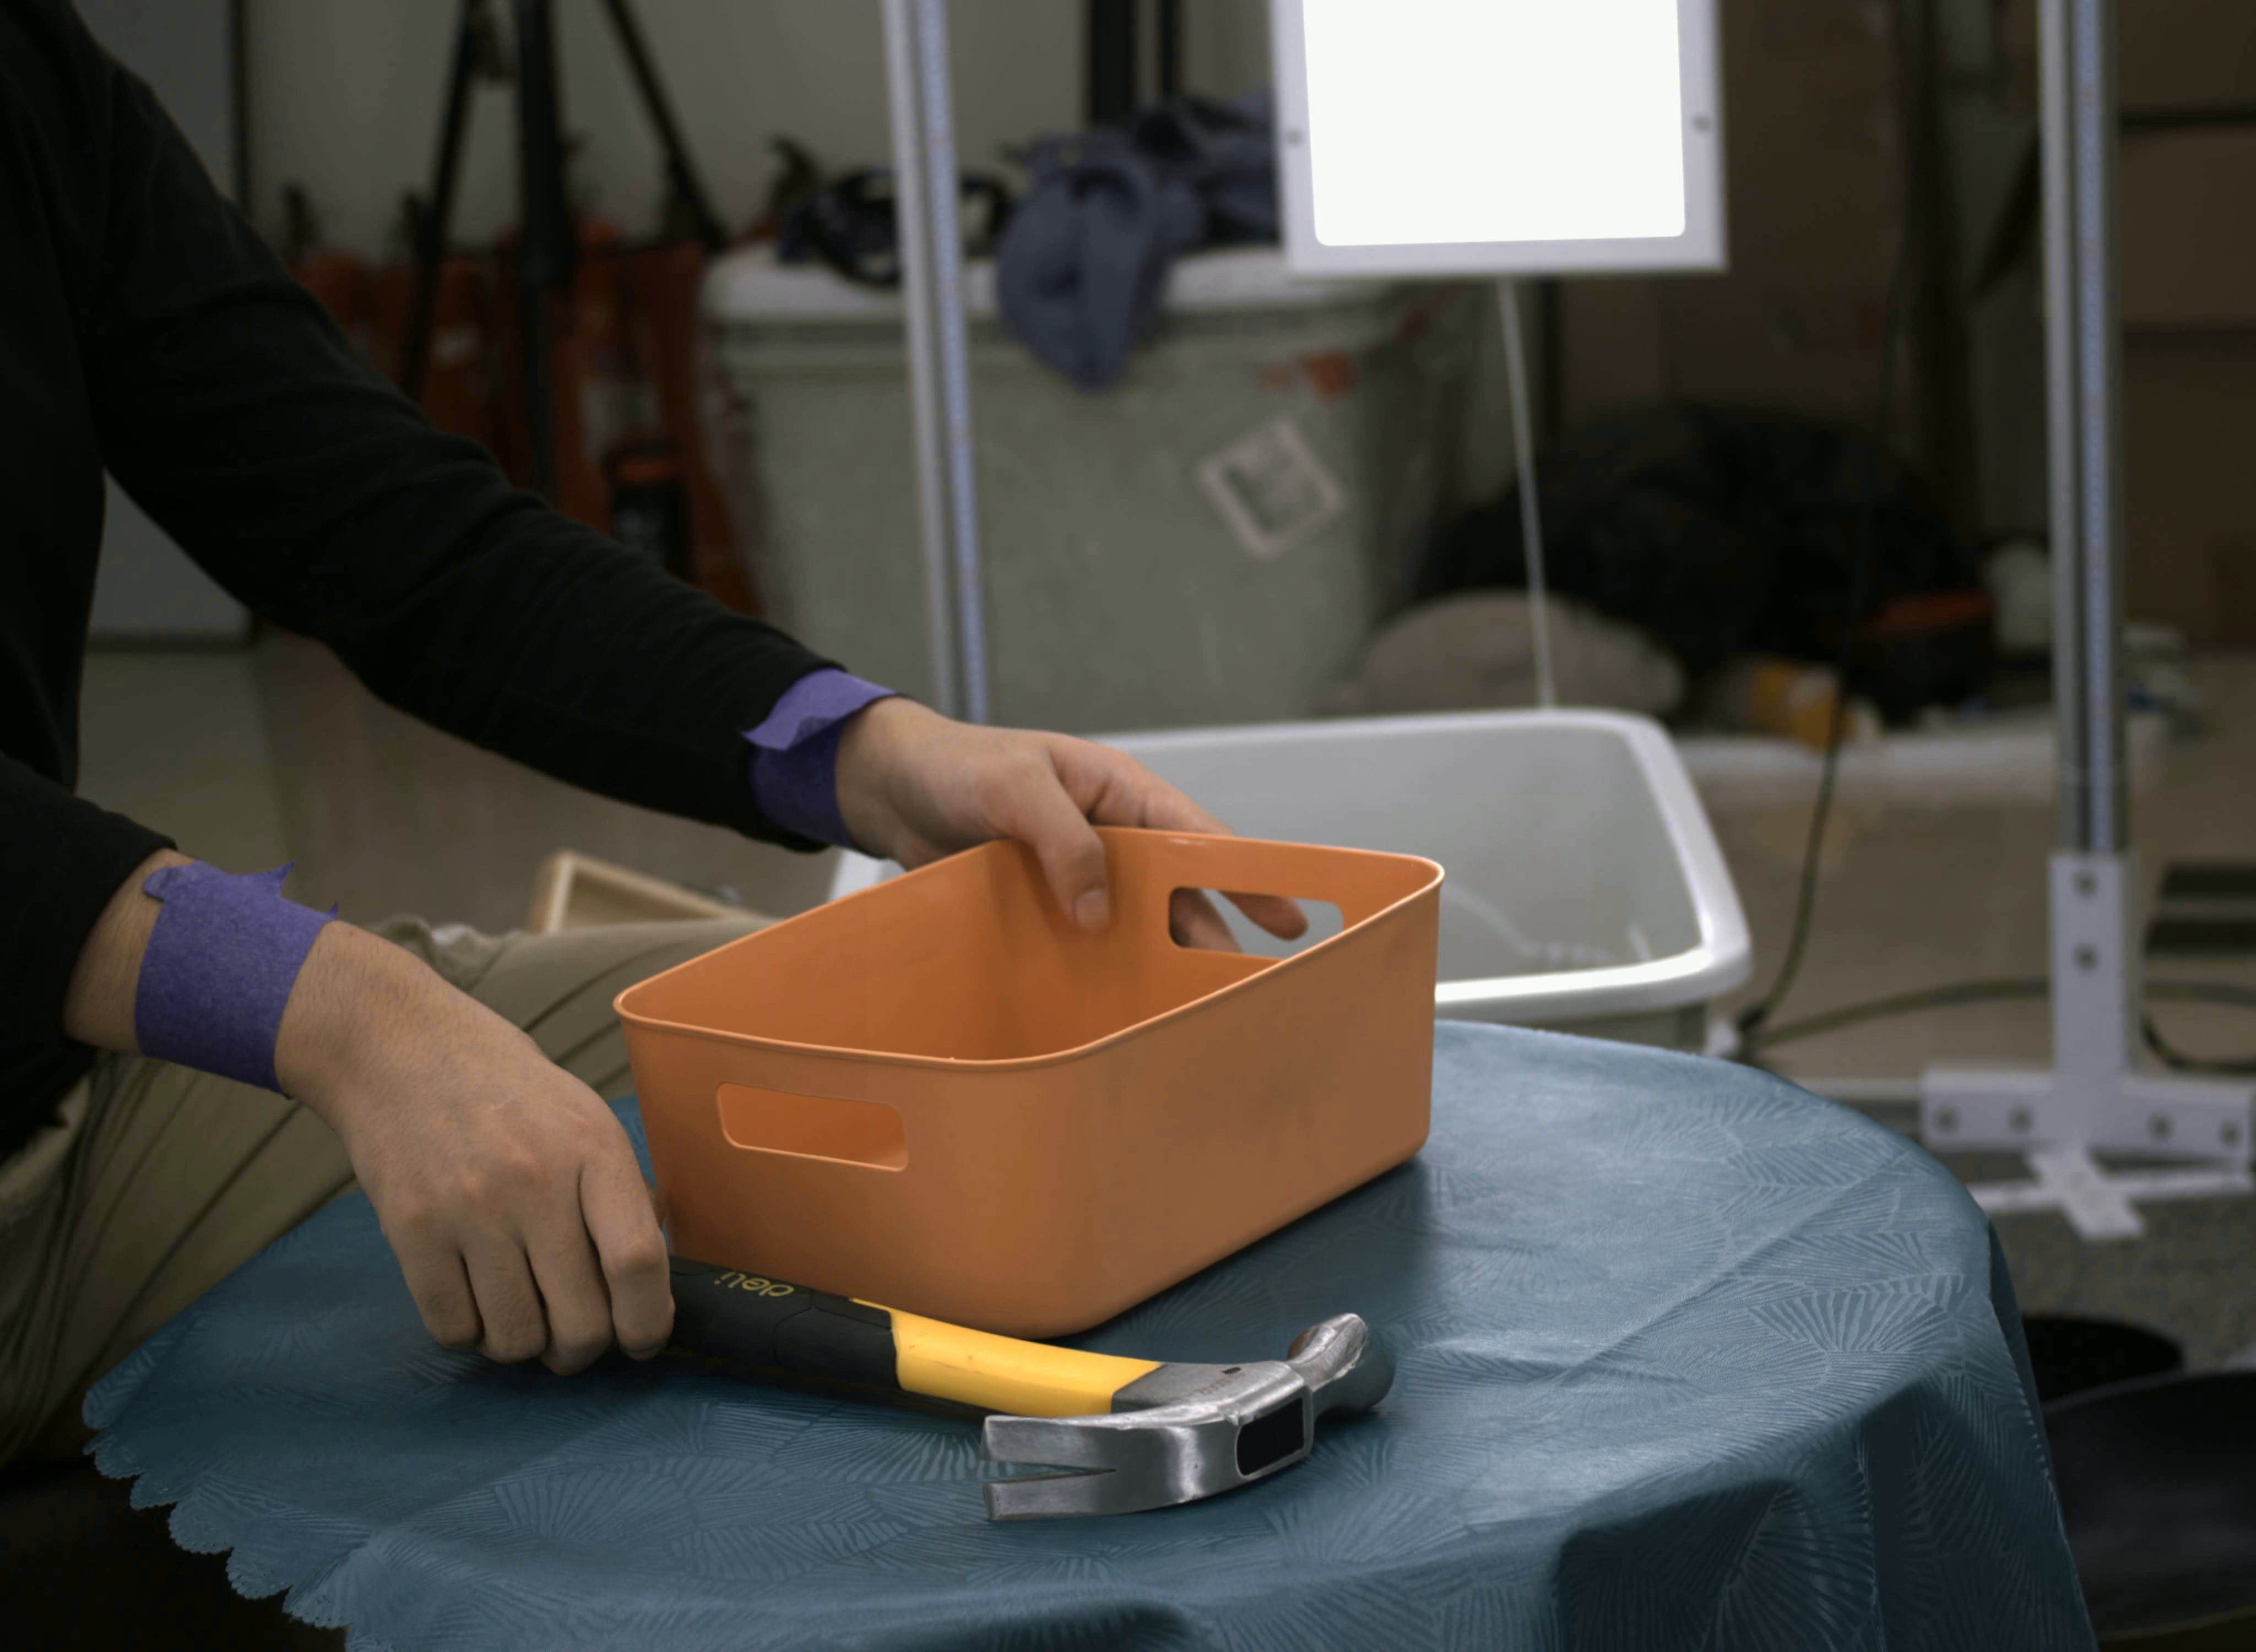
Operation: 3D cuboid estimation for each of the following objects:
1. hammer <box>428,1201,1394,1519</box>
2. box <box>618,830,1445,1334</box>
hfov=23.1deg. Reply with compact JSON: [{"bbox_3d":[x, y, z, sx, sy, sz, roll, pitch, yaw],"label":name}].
[{"bbox_3d":[-0.090,0.157,1.719,0.345,0.032,0.128,9,20,39],"label":"hammer"},{"bbox_3d":[-0.027,0.084,1.867,0.203,0.103,0.266,5,16,36],"label":"box"}]
